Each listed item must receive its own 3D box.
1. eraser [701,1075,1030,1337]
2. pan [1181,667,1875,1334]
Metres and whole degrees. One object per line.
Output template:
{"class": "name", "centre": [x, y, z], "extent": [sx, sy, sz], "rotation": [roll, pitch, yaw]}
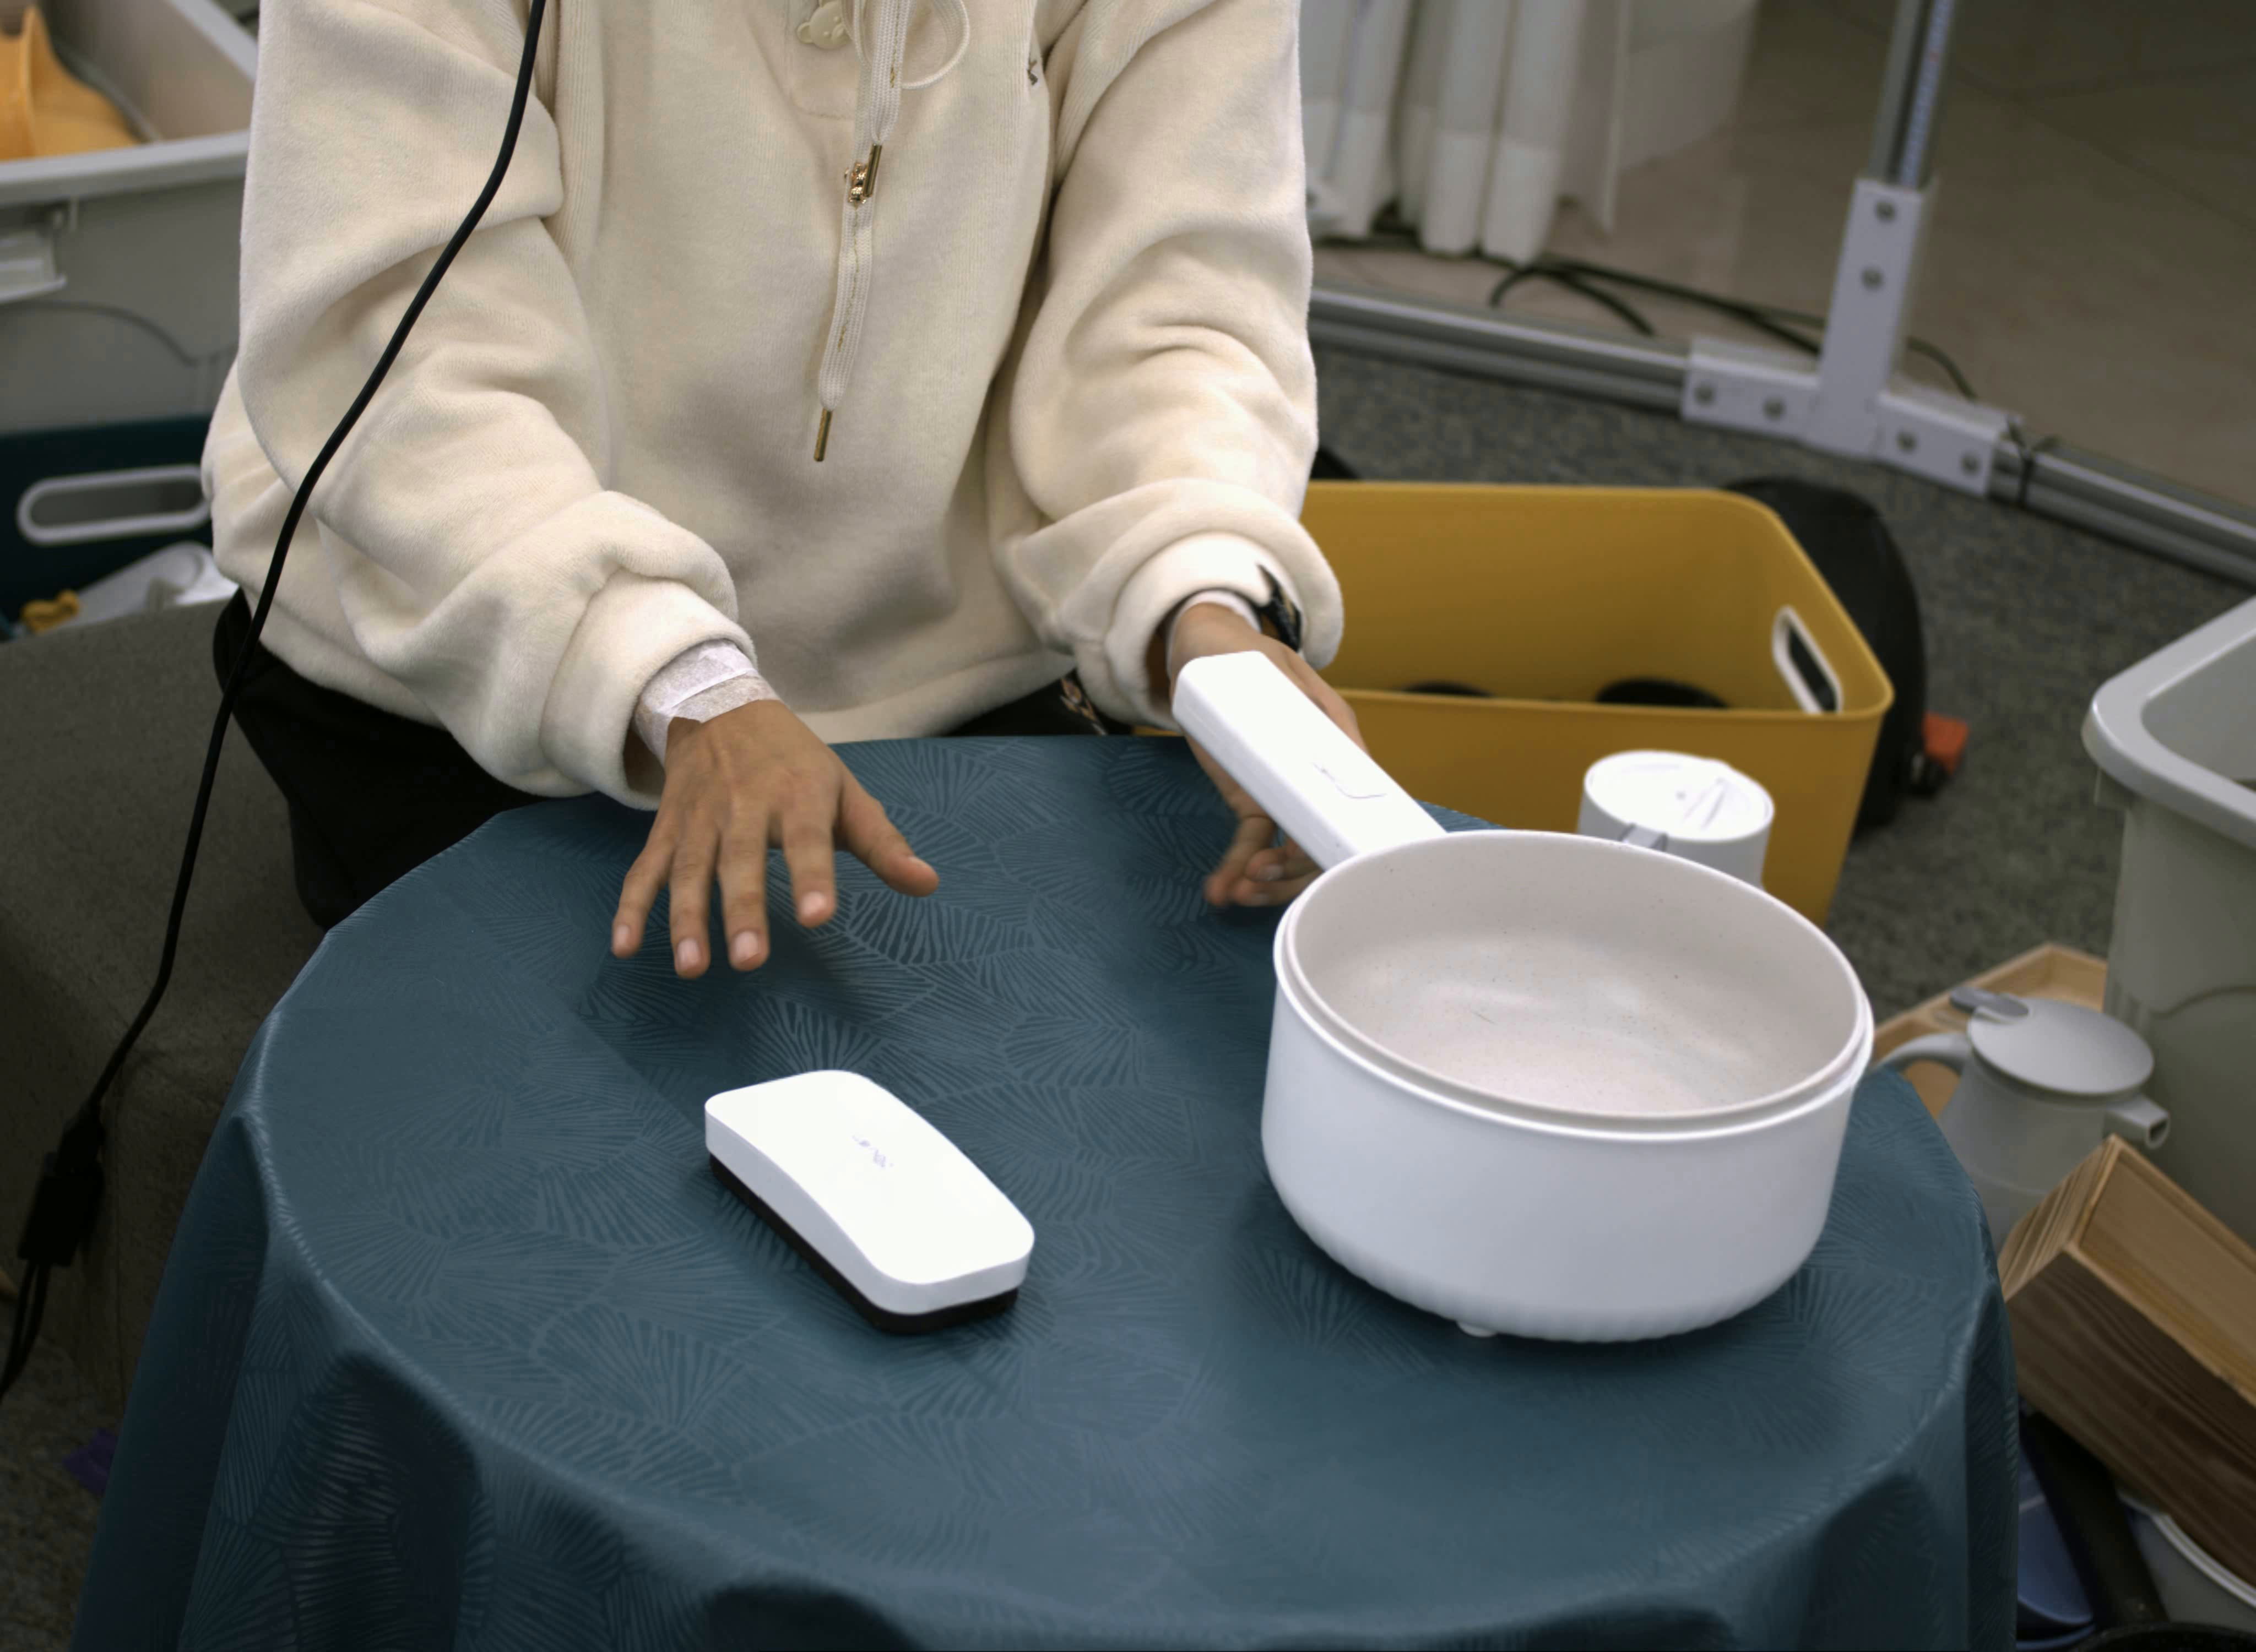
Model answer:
{"class": "eraser", "centre": [-0.087, 0.121, 1.755], "extent": [0.063, 0.034, 0.132], "rotation": [-9, 31, -33]}
{"class": "pan", "centre": [0.109, 0.058, 1.847], "extent": [0.200, 0.102, 0.358], "rotation": [-6, 27, -26]}
